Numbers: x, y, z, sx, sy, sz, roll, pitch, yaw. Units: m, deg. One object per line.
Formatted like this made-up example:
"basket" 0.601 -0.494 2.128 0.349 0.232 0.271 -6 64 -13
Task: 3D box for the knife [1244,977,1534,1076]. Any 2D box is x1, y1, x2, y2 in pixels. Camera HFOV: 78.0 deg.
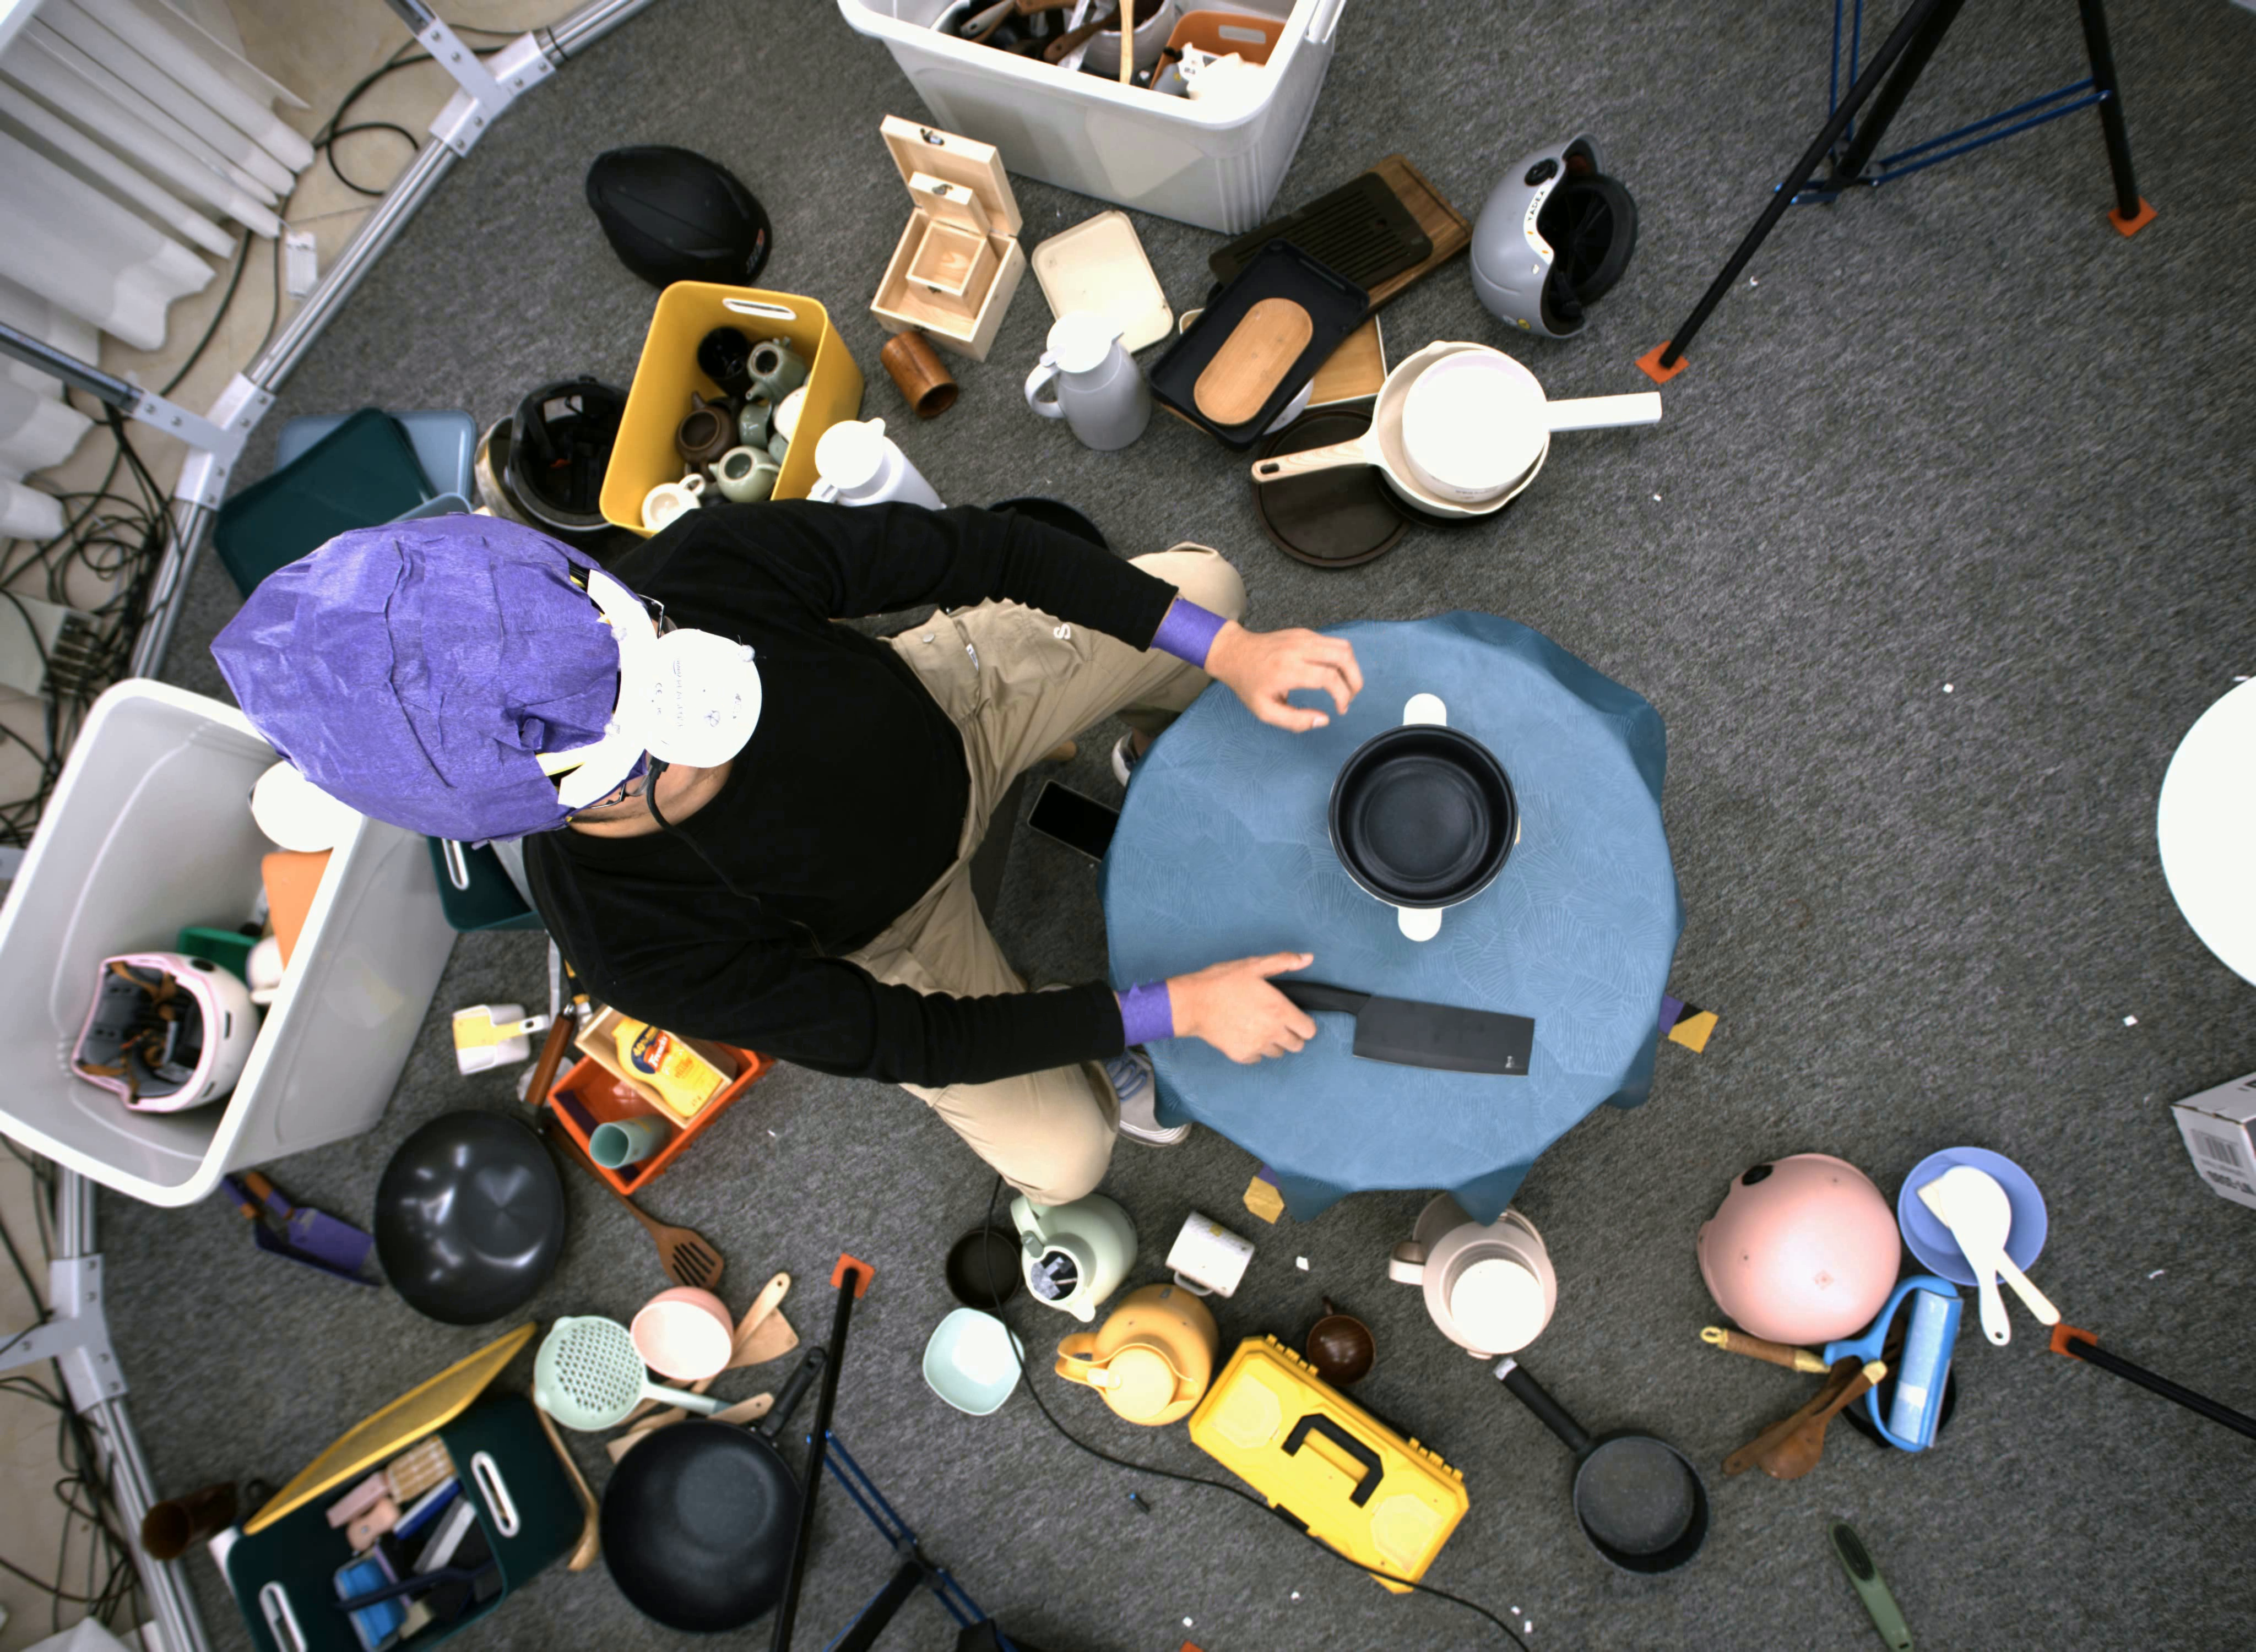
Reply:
"knife" 0.271 0.205 1.448 0.303 0.021 0.081 12 90 9

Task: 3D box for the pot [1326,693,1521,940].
"pot" 0.300 -0.006 1.389 0.191 0.142 0.239 1 88 14
